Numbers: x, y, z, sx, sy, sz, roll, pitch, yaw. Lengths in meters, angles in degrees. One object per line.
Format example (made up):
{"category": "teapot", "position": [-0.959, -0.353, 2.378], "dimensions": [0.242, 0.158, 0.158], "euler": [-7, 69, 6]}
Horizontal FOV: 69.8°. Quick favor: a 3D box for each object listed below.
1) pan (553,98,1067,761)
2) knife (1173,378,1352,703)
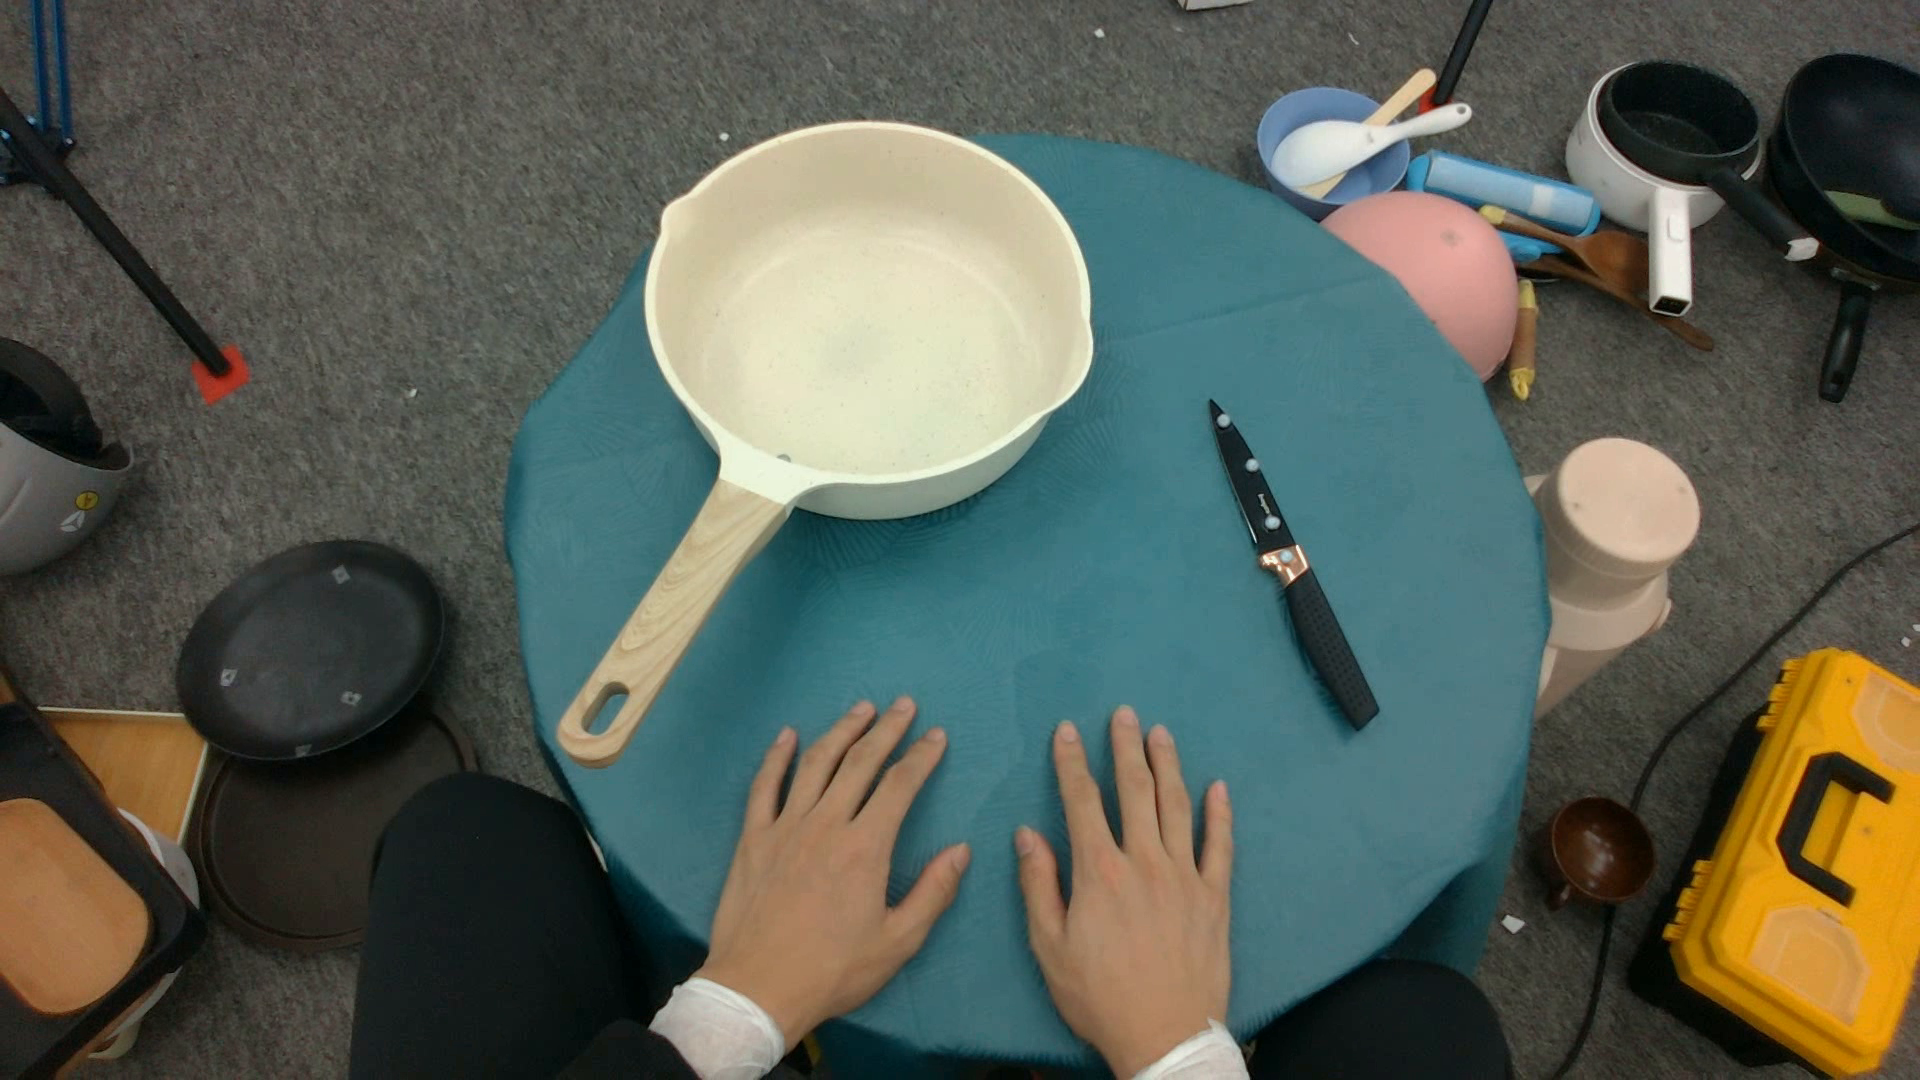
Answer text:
{"category": "pan", "position": [-0.103, -0.063, 0.766], "dimensions": [0.263, 0.101, 0.436], "euler": [22, 64, 5]}
{"category": "knife", "position": [0.174, -0.006, 0.806], "dimensions": [0.026, 0.017, 0.226], "euler": [-21, 65, 4]}
